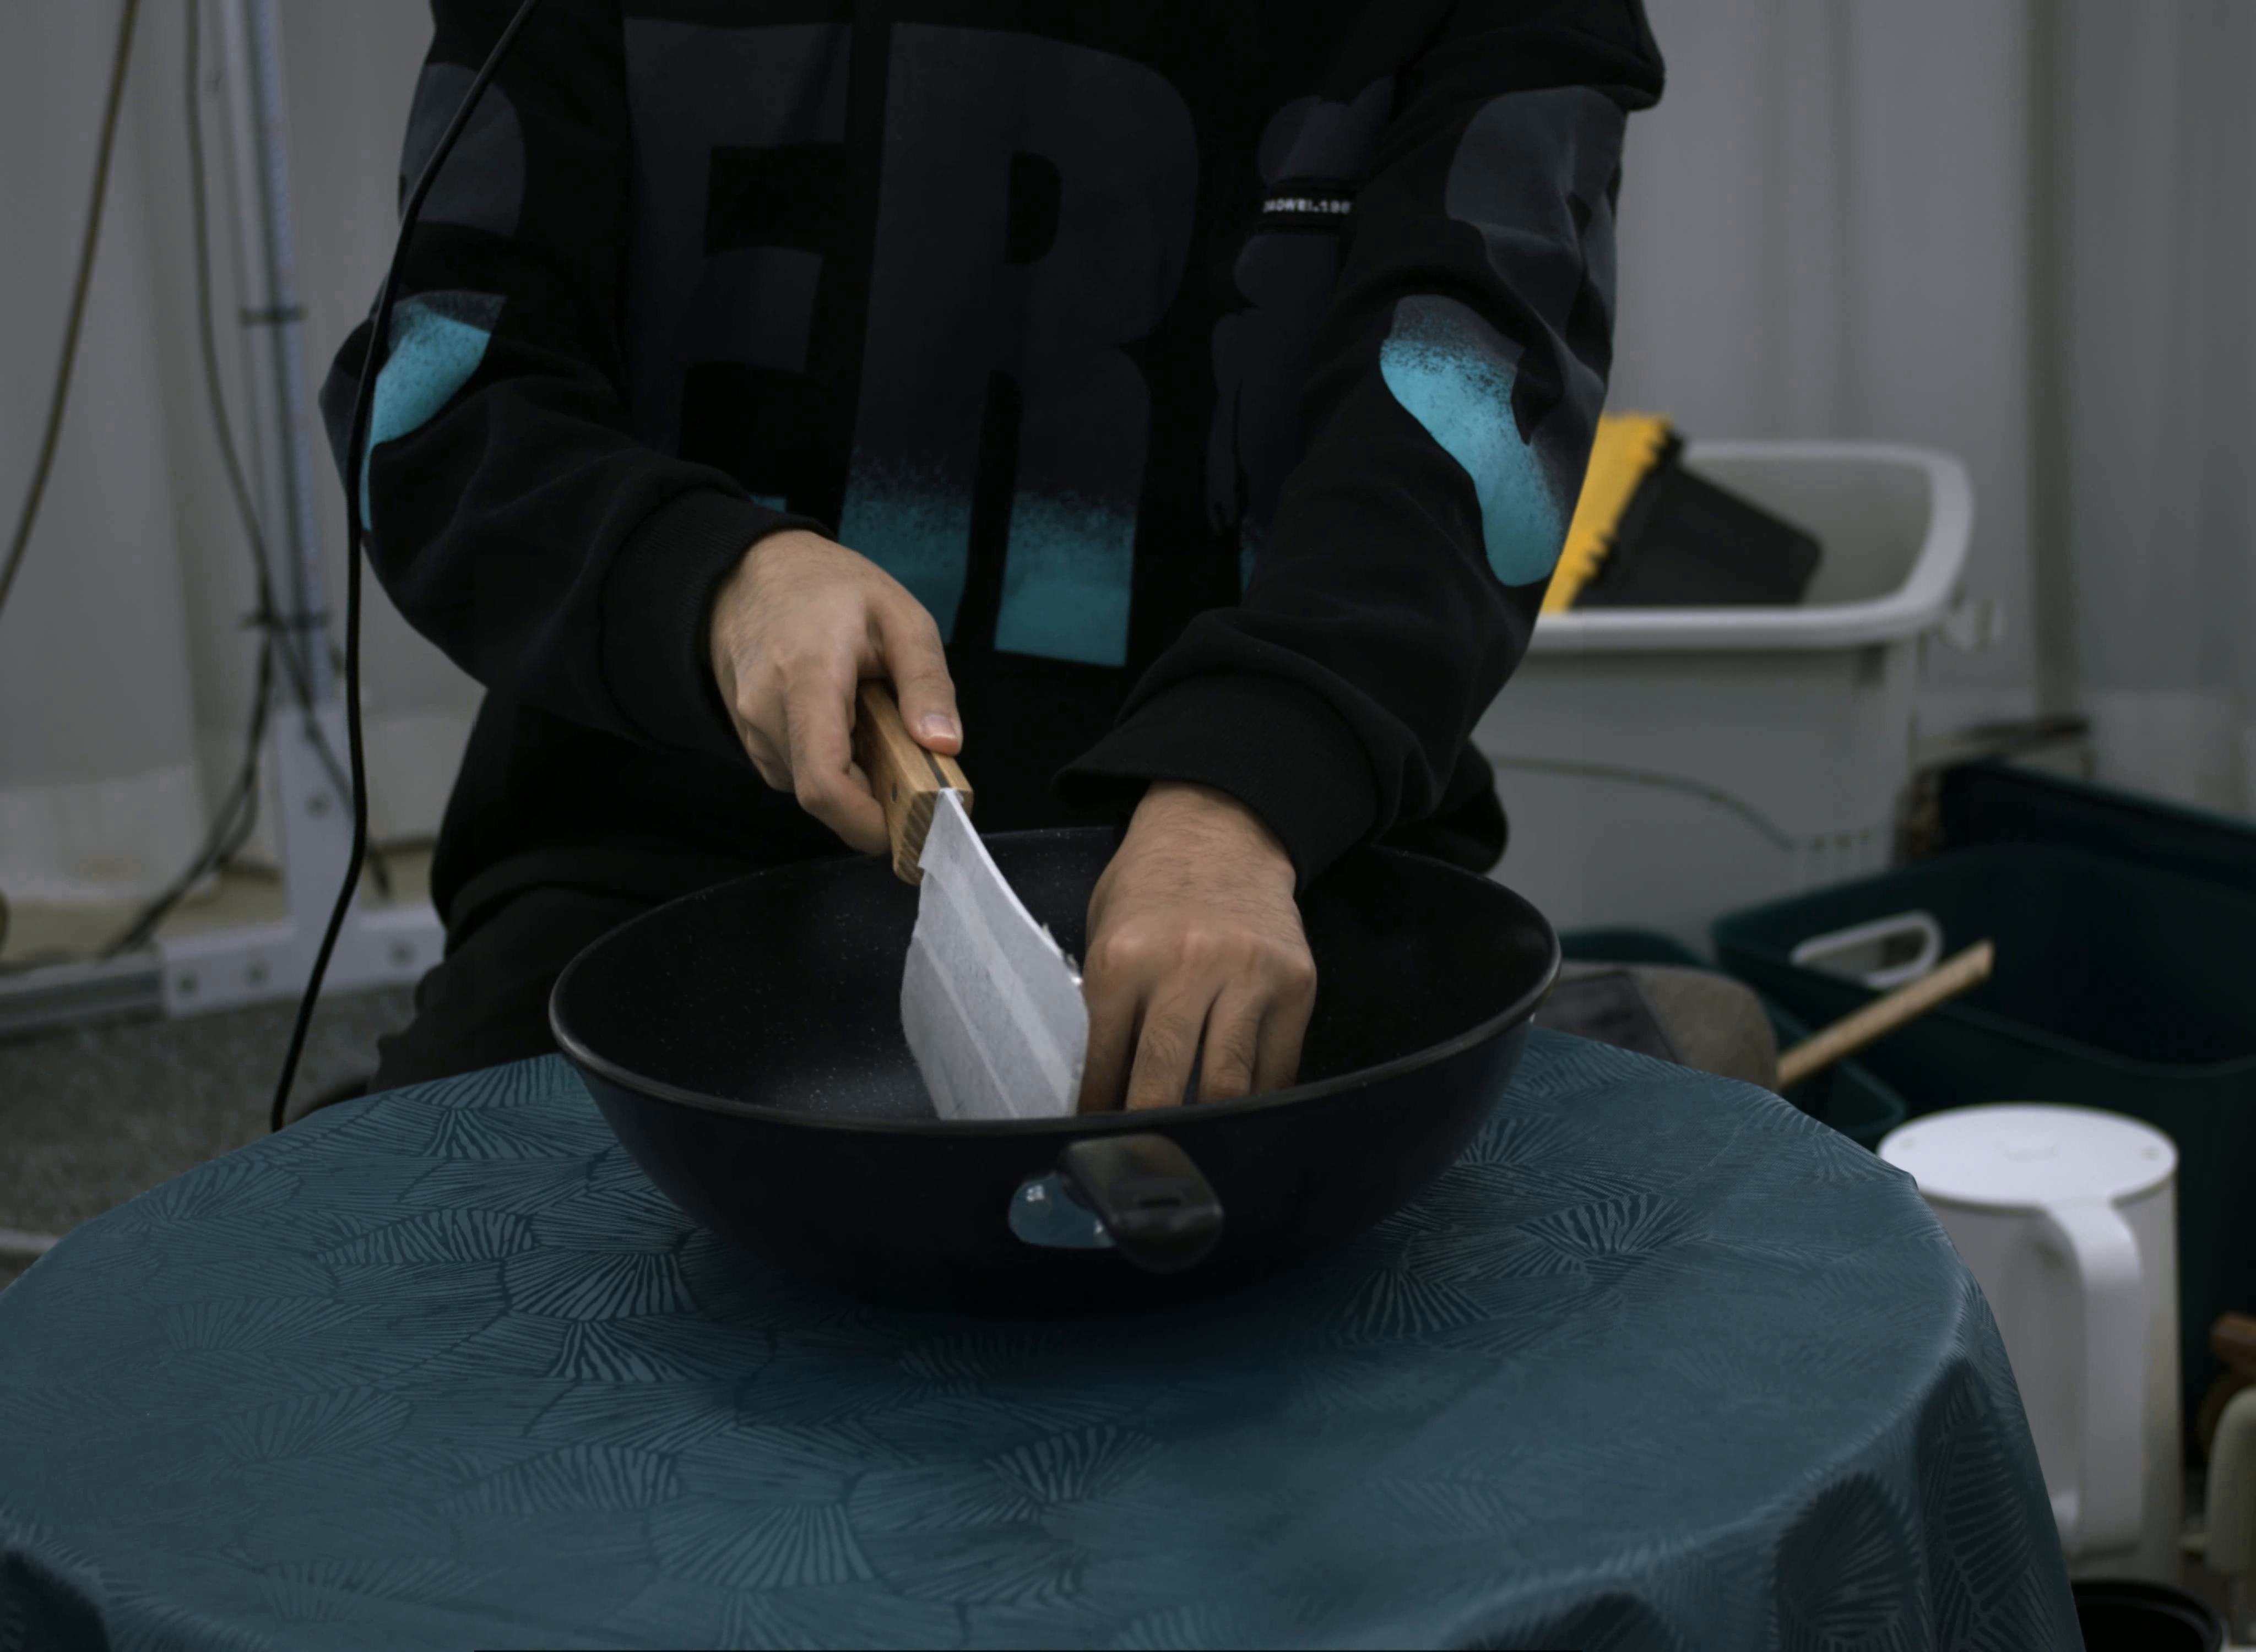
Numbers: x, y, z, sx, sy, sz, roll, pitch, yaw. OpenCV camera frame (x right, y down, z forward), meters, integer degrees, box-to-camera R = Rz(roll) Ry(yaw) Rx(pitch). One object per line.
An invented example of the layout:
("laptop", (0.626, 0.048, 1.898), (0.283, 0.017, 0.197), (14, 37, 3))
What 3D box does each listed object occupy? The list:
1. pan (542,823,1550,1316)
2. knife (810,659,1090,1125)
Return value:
("pan", (-0.014, 0.092, 1.600), (0.309, 0.111, 0.480), (-6, 15, -5))
("knife", (-0.057, 0.028, 1.714), (0.021, 0.113, 0.319), (5, 26, -19))
